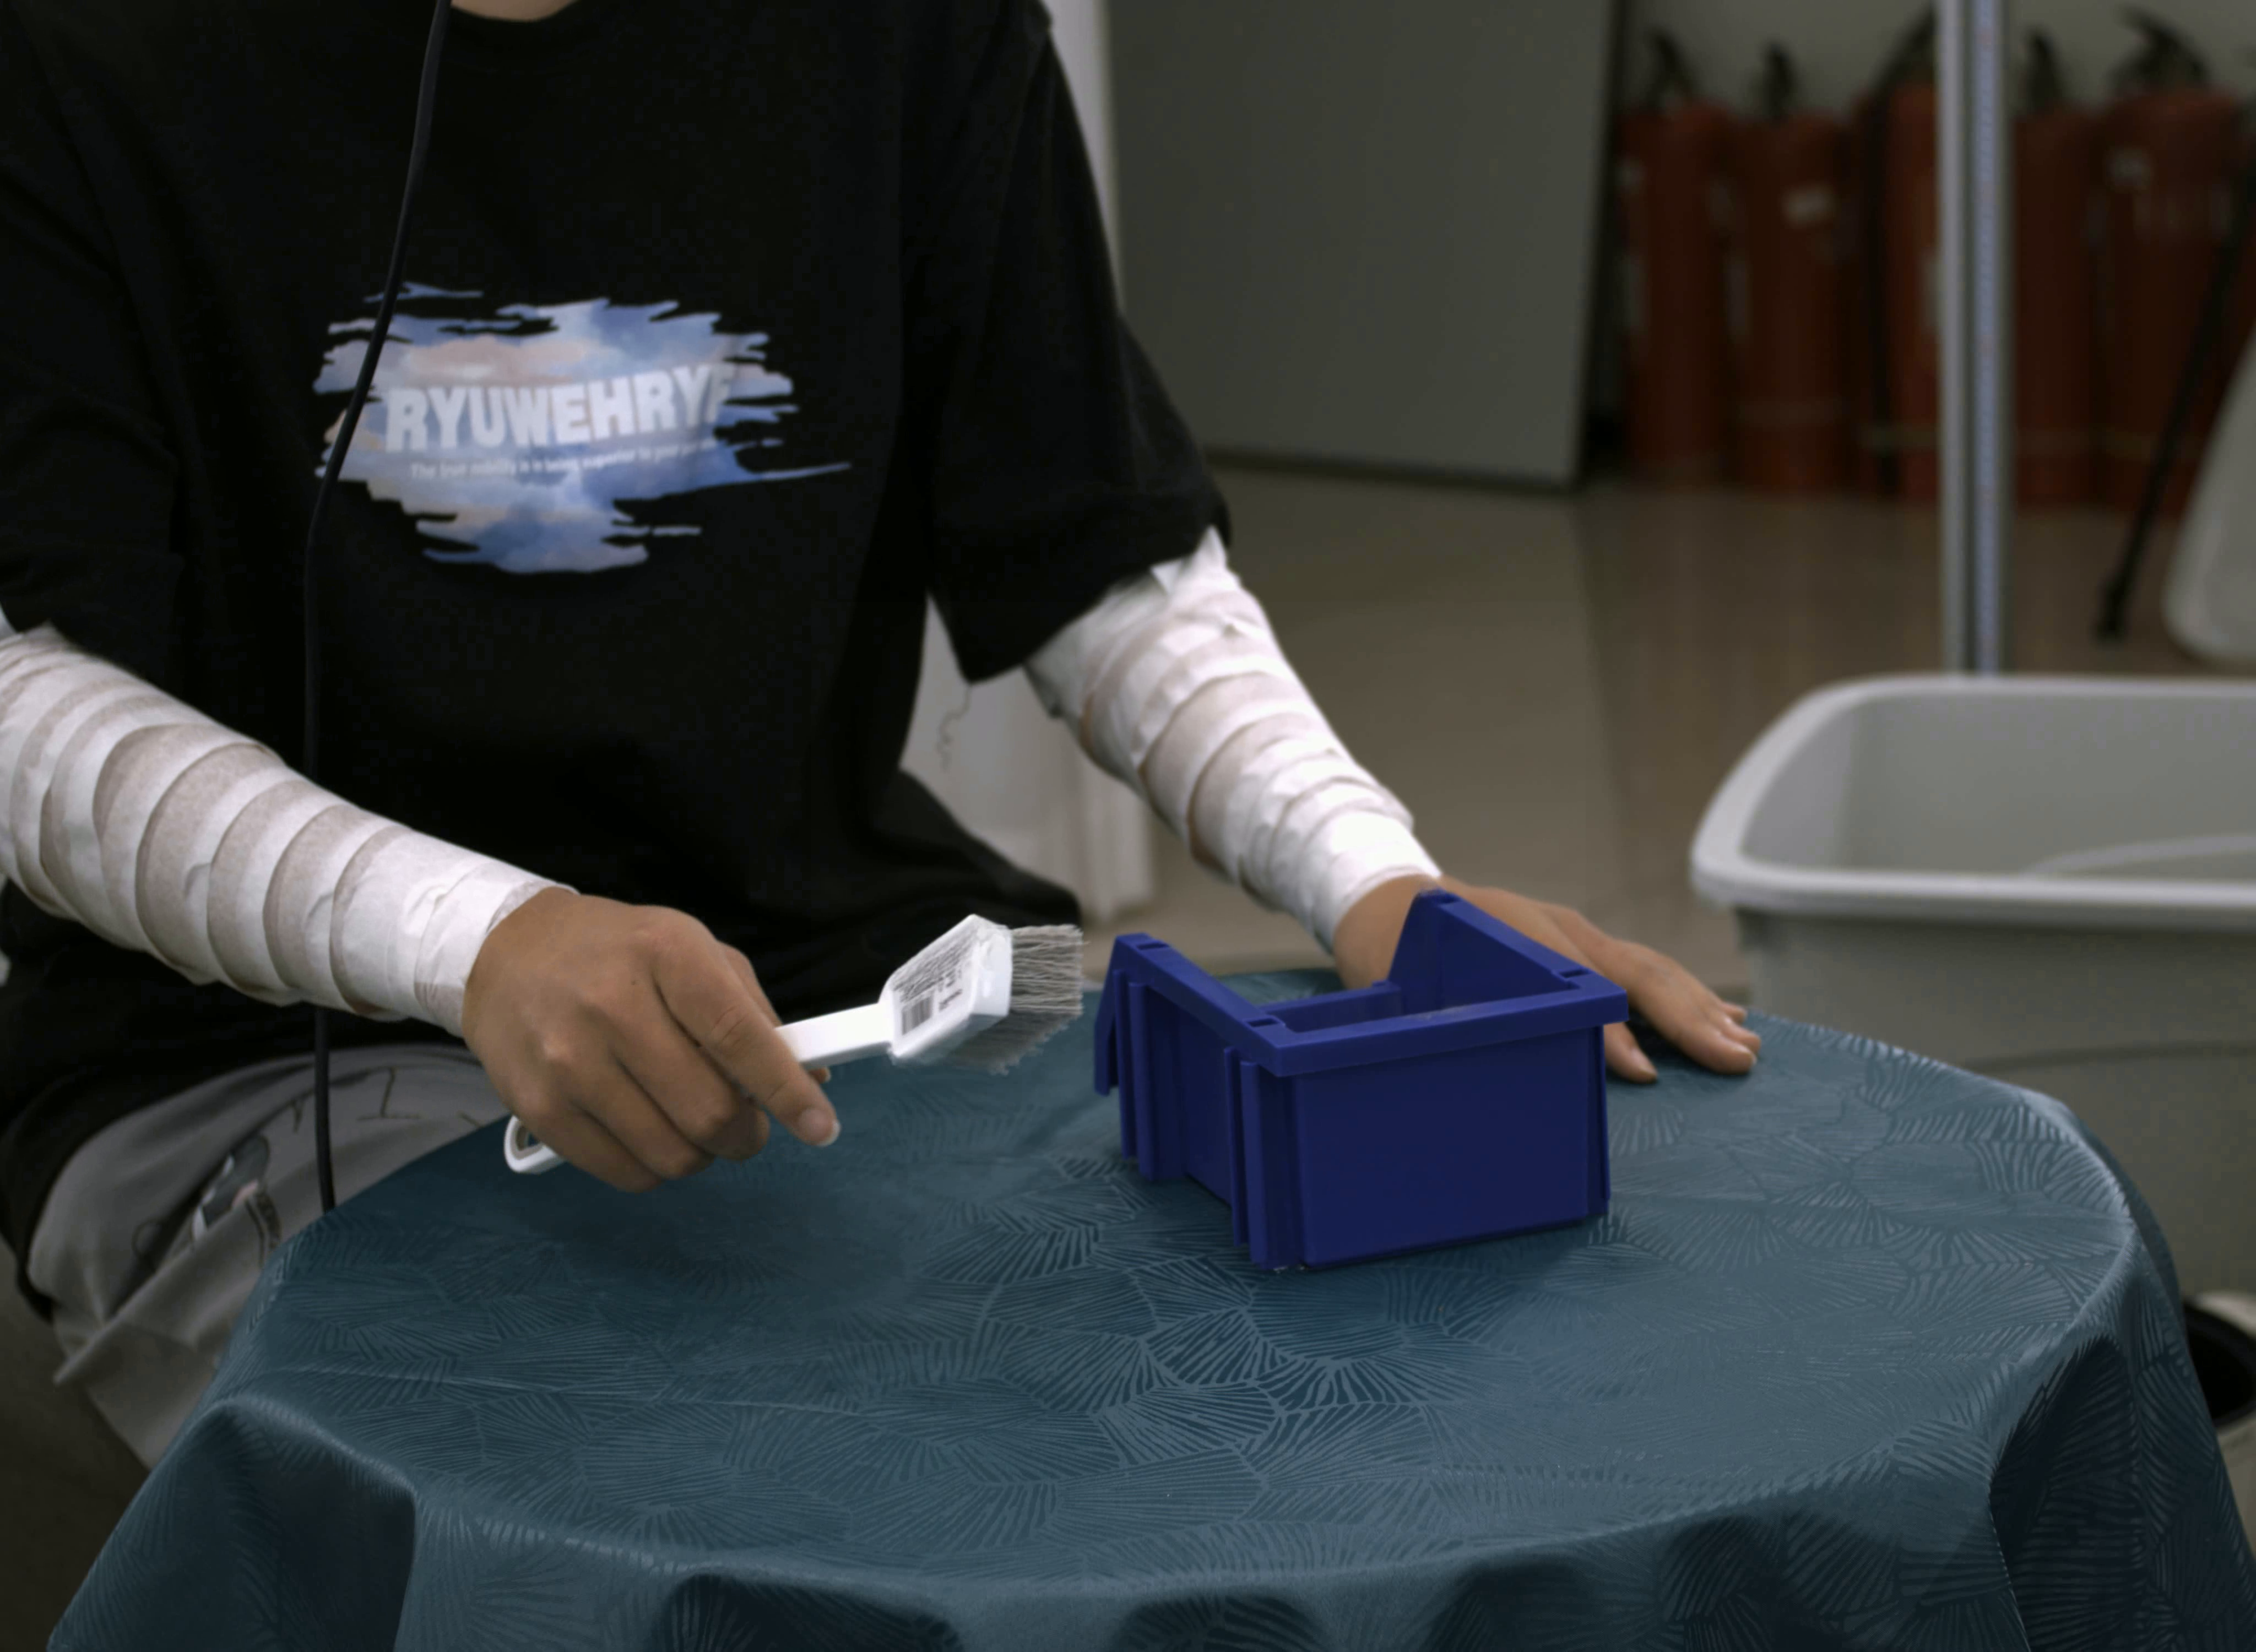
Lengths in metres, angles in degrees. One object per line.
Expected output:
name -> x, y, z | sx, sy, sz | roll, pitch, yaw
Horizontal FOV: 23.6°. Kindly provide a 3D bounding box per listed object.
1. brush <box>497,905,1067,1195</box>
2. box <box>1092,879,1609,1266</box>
brush -> -0.107, 0.078, 1.693 | 0.049, 0.035, 0.246 | 20, -32, -39
box -> 0.068, 0.077, 1.762 | 0.122, 0.083, 0.181 | -8, 15, -16
